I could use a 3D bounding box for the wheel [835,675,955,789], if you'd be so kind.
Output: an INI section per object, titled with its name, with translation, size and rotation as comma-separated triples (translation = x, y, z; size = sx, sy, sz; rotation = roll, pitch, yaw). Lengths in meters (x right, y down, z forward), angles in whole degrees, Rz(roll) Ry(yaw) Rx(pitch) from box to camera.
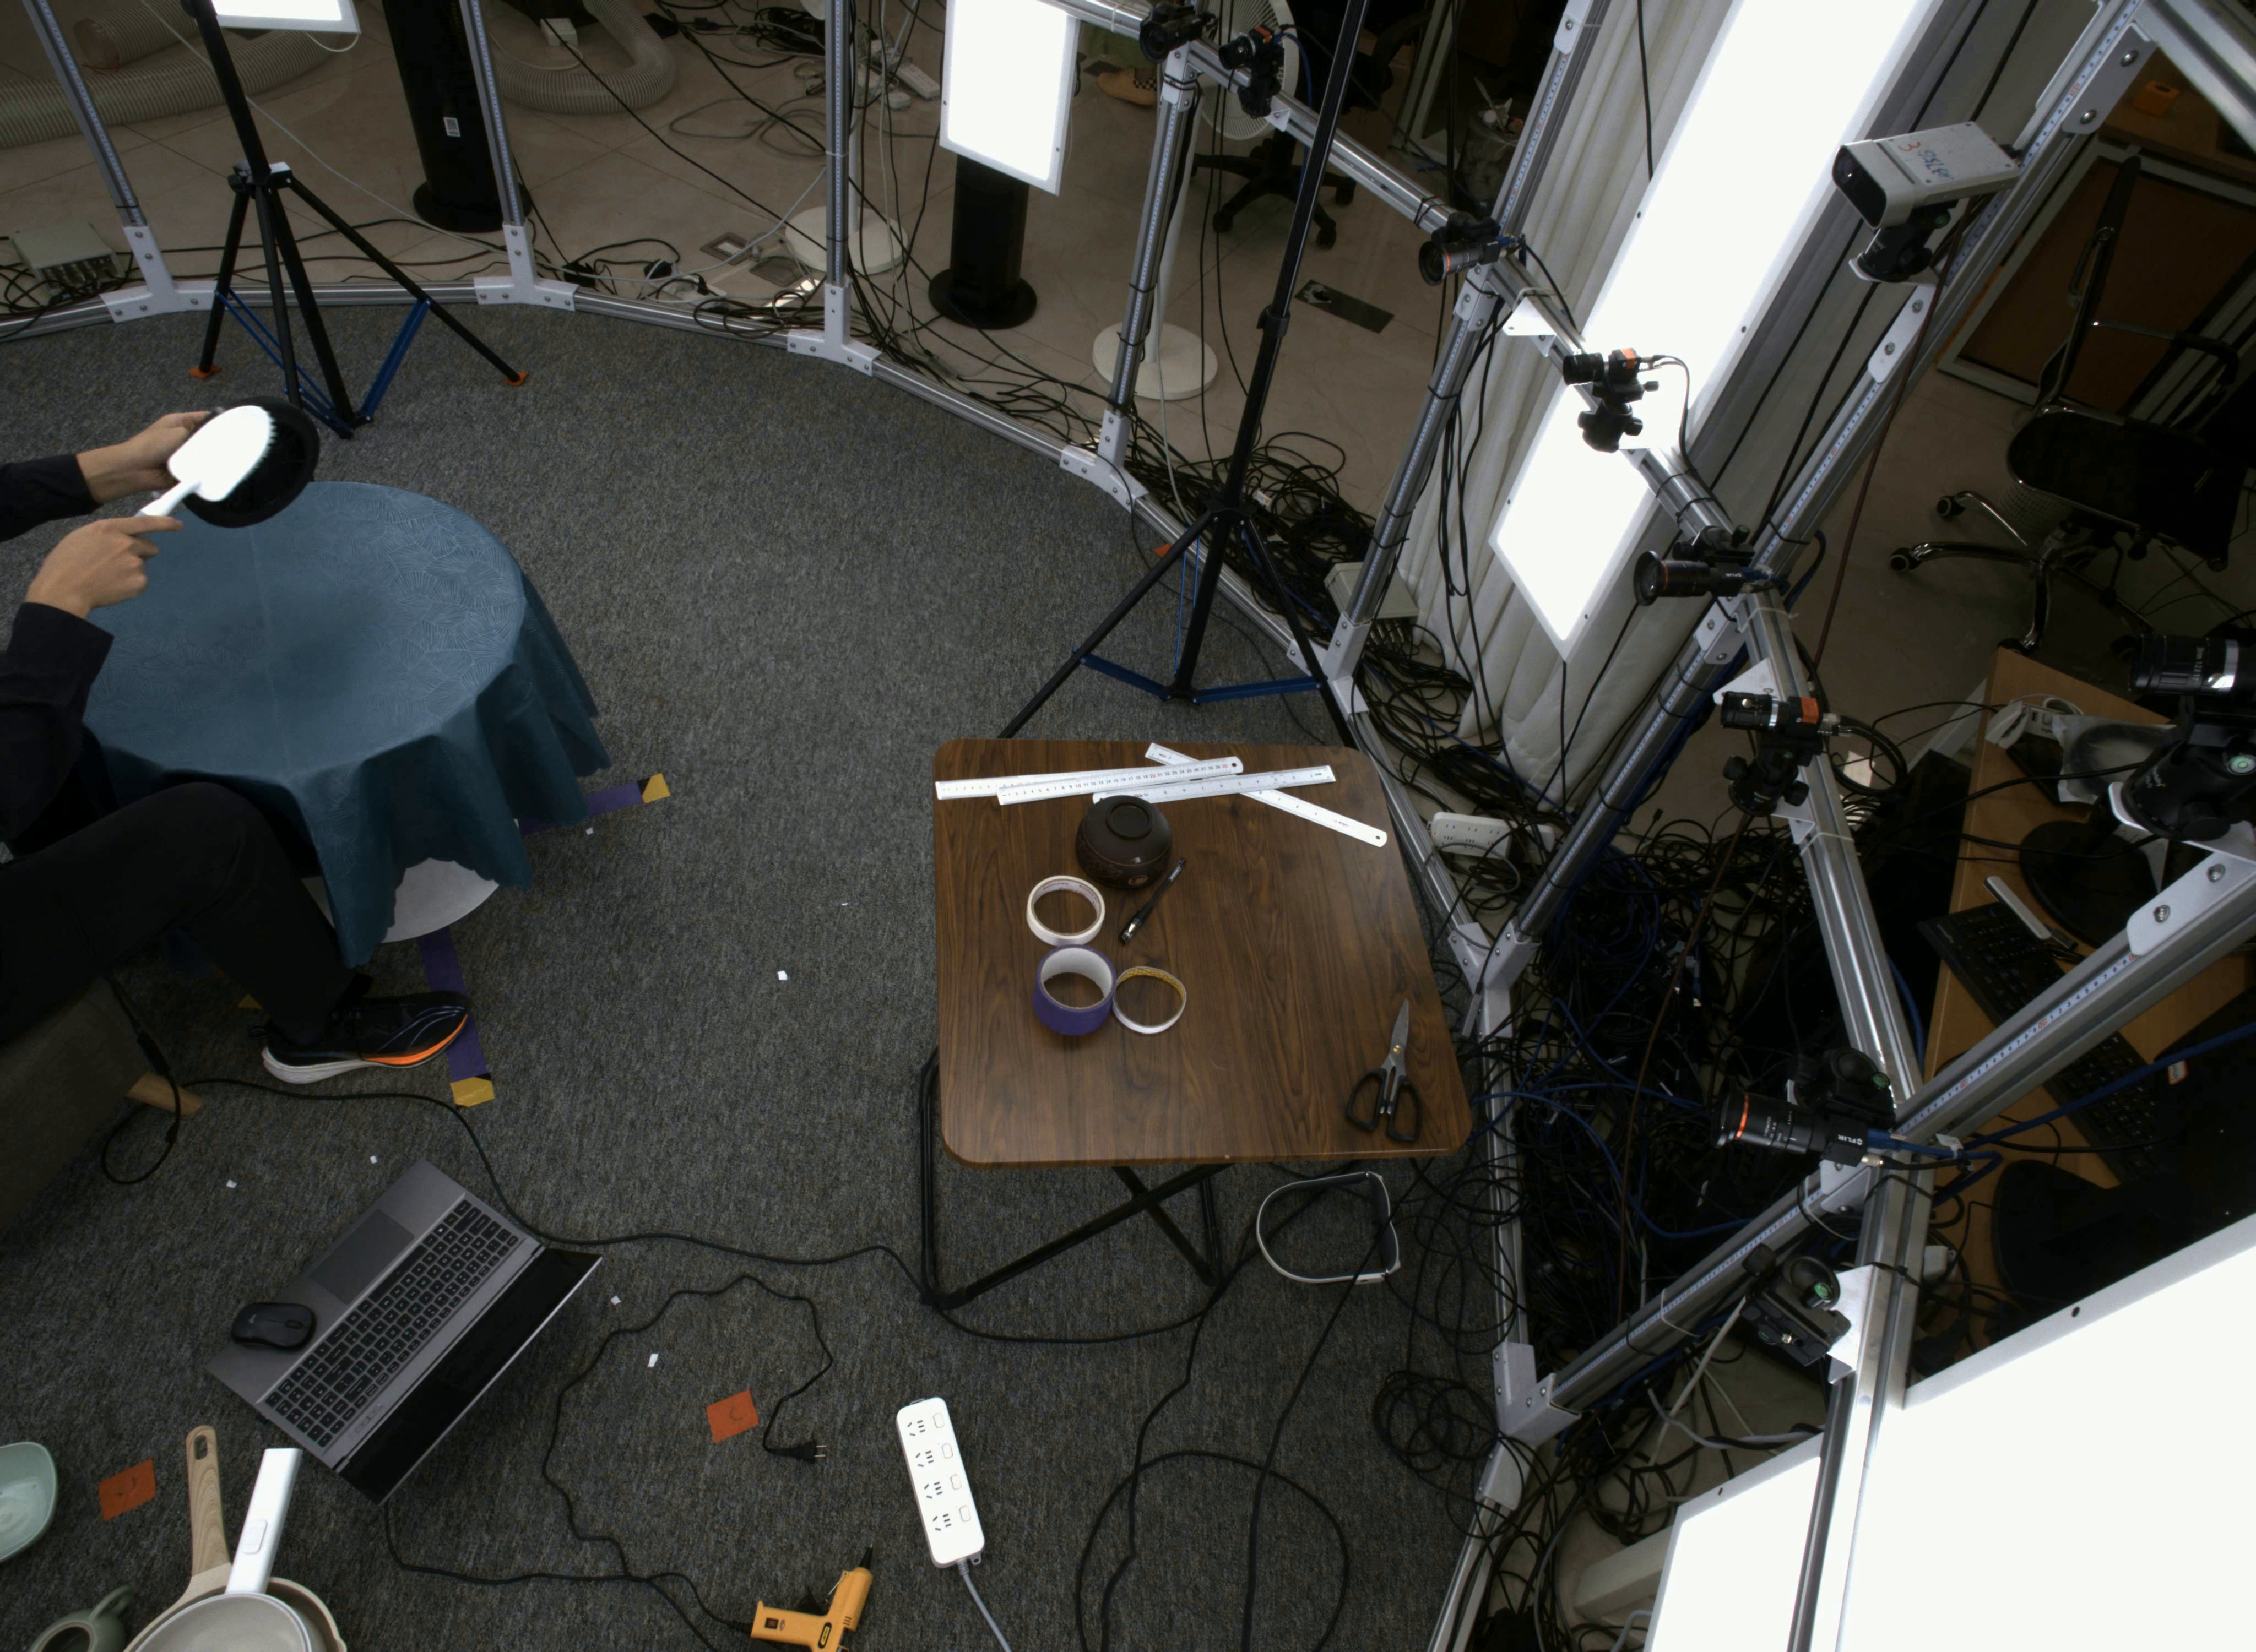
[wheel]
translation = -0.364, -0.154, 2.000
size = 0.196, 0.188, 0.076
rotation = 30, 15, -42

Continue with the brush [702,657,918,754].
[brush]
translation = -0.452, -0.164, 1.852
size = 0.326, 0.087, 0.080
rotation = -25, 43, -20
